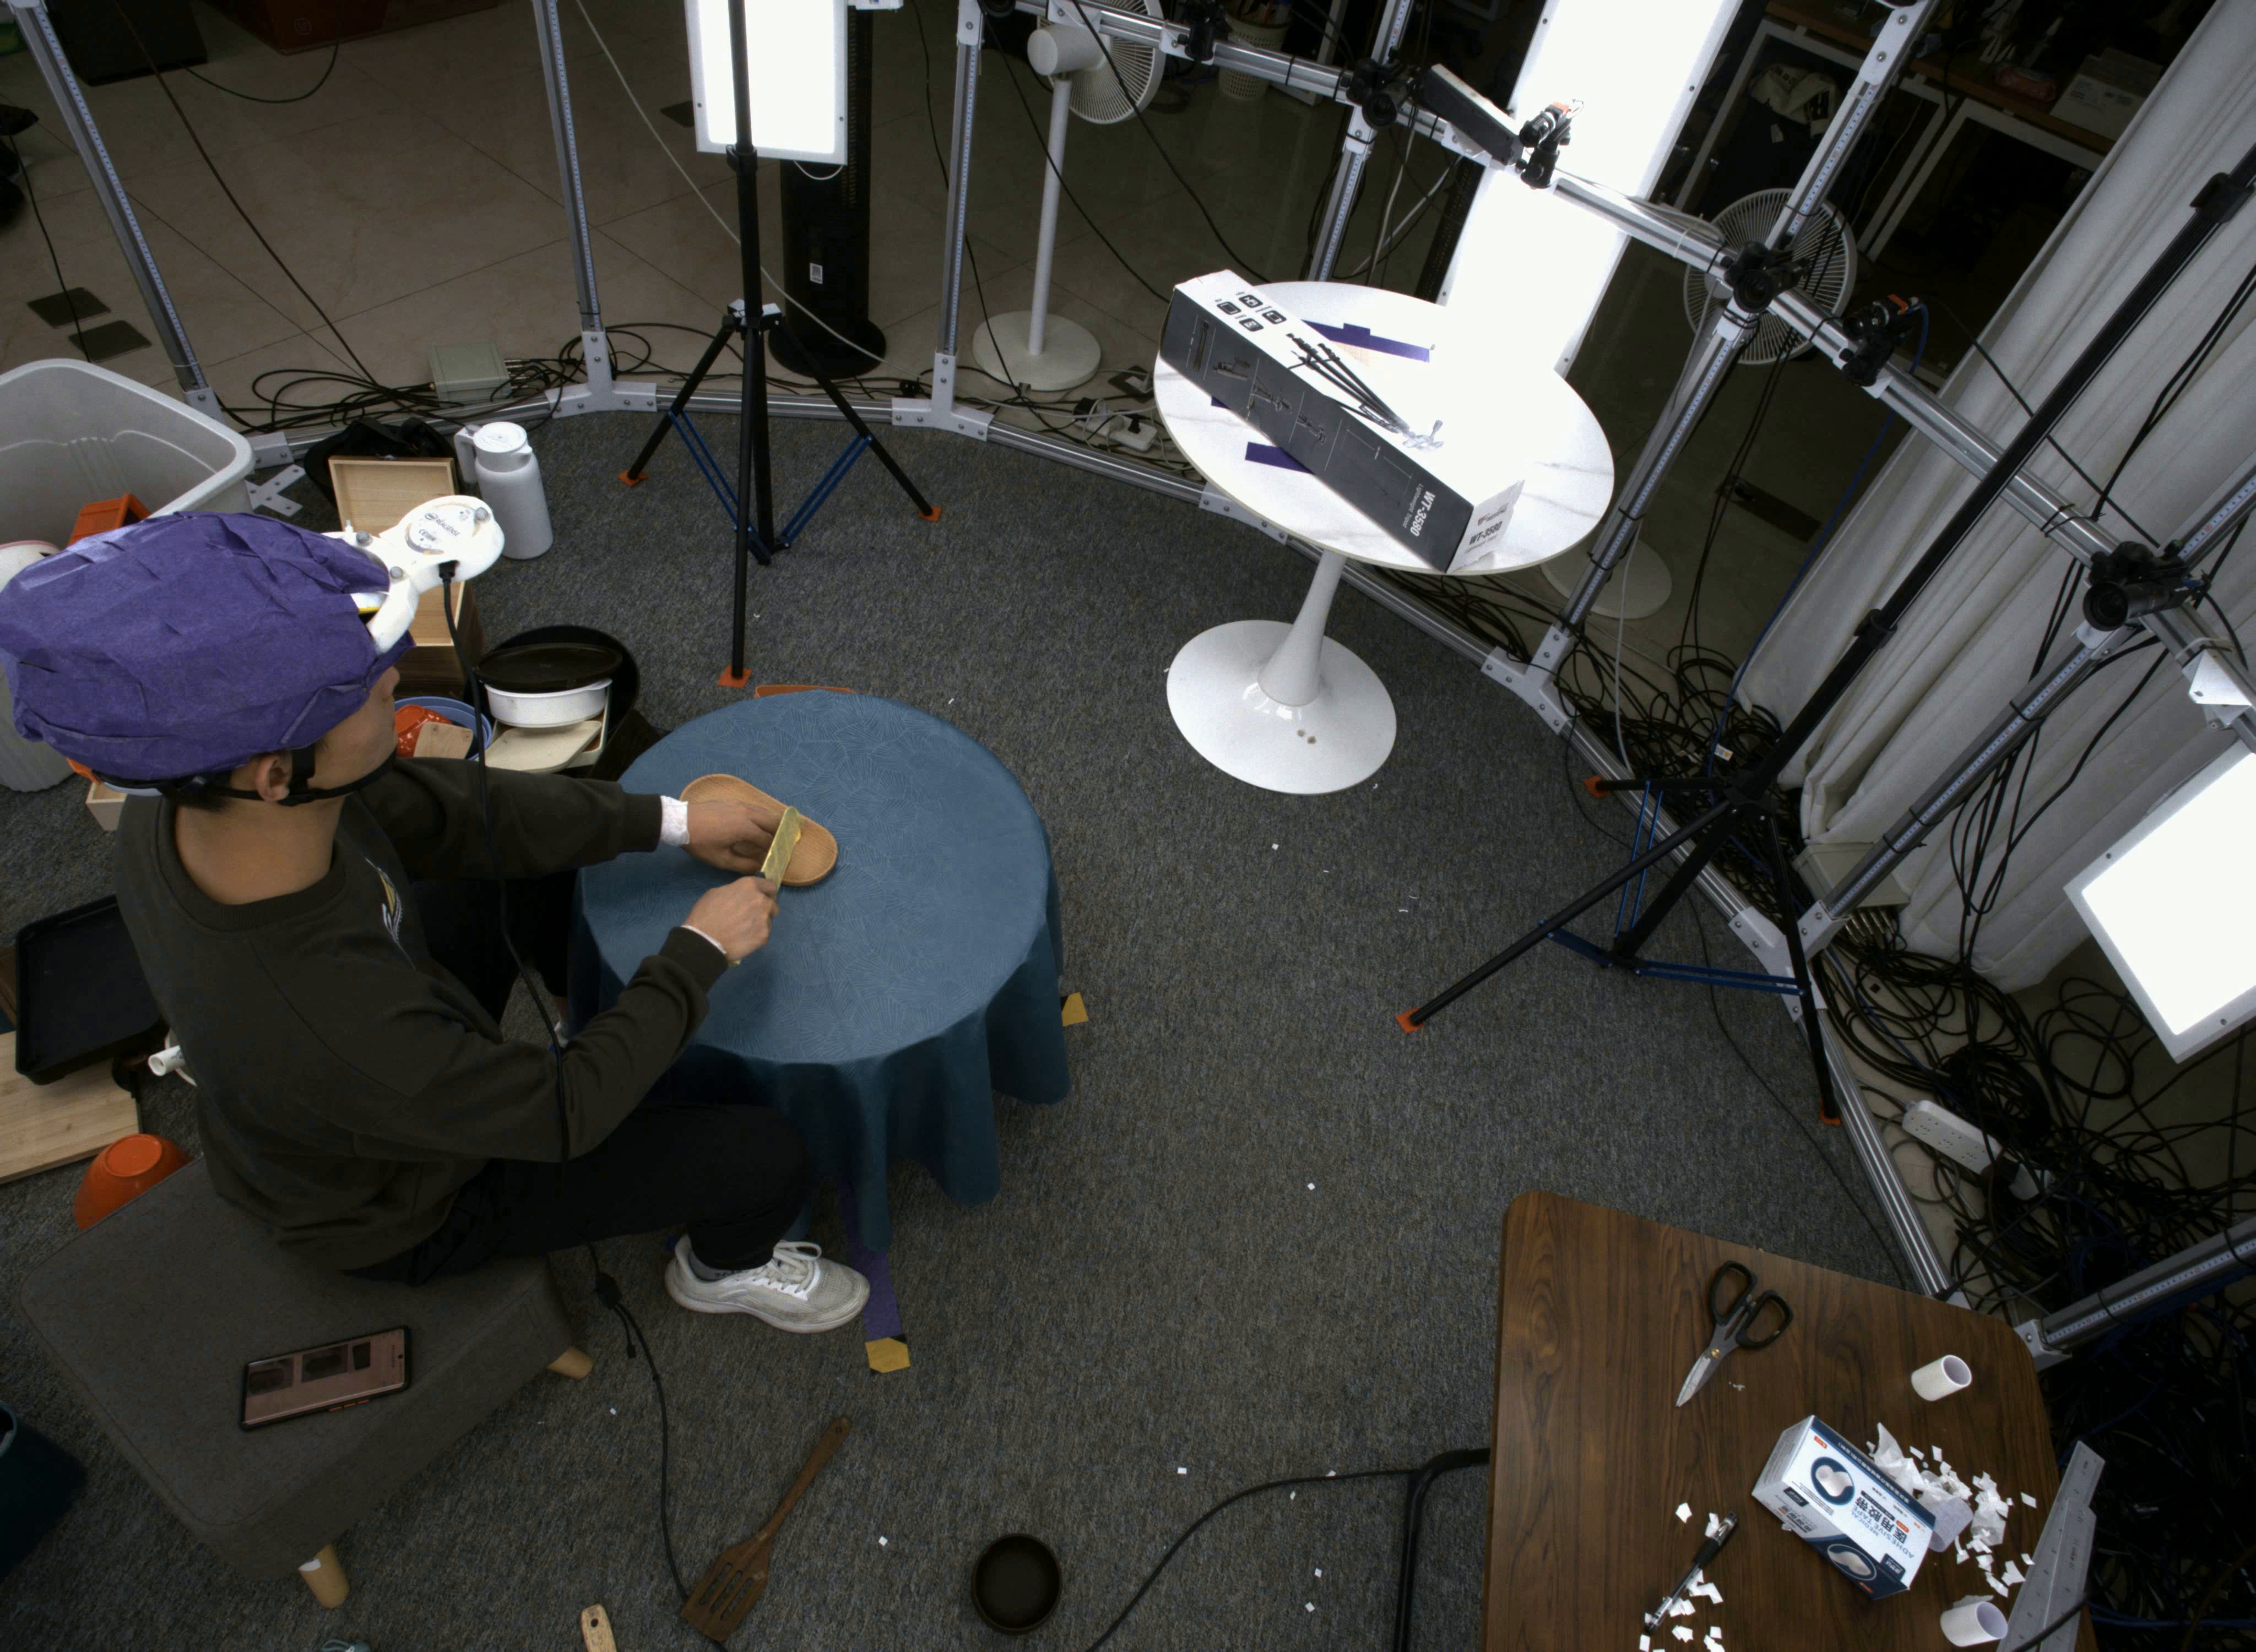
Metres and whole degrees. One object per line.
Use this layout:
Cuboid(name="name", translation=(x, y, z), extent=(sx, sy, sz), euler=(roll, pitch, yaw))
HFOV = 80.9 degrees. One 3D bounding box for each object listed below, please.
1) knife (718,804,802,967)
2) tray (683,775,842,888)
Cuboid(name="knife", translation=(-0.447, 0.072, 1.599), extent=(0.027, 0.083, 0.284), euler=(5, 41, 5))
Cuboid(name="tray", translation=(-0.482, 0.005, 1.706), extent=(0.228, 0.021, 0.101), euler=(30, 54, 6))
